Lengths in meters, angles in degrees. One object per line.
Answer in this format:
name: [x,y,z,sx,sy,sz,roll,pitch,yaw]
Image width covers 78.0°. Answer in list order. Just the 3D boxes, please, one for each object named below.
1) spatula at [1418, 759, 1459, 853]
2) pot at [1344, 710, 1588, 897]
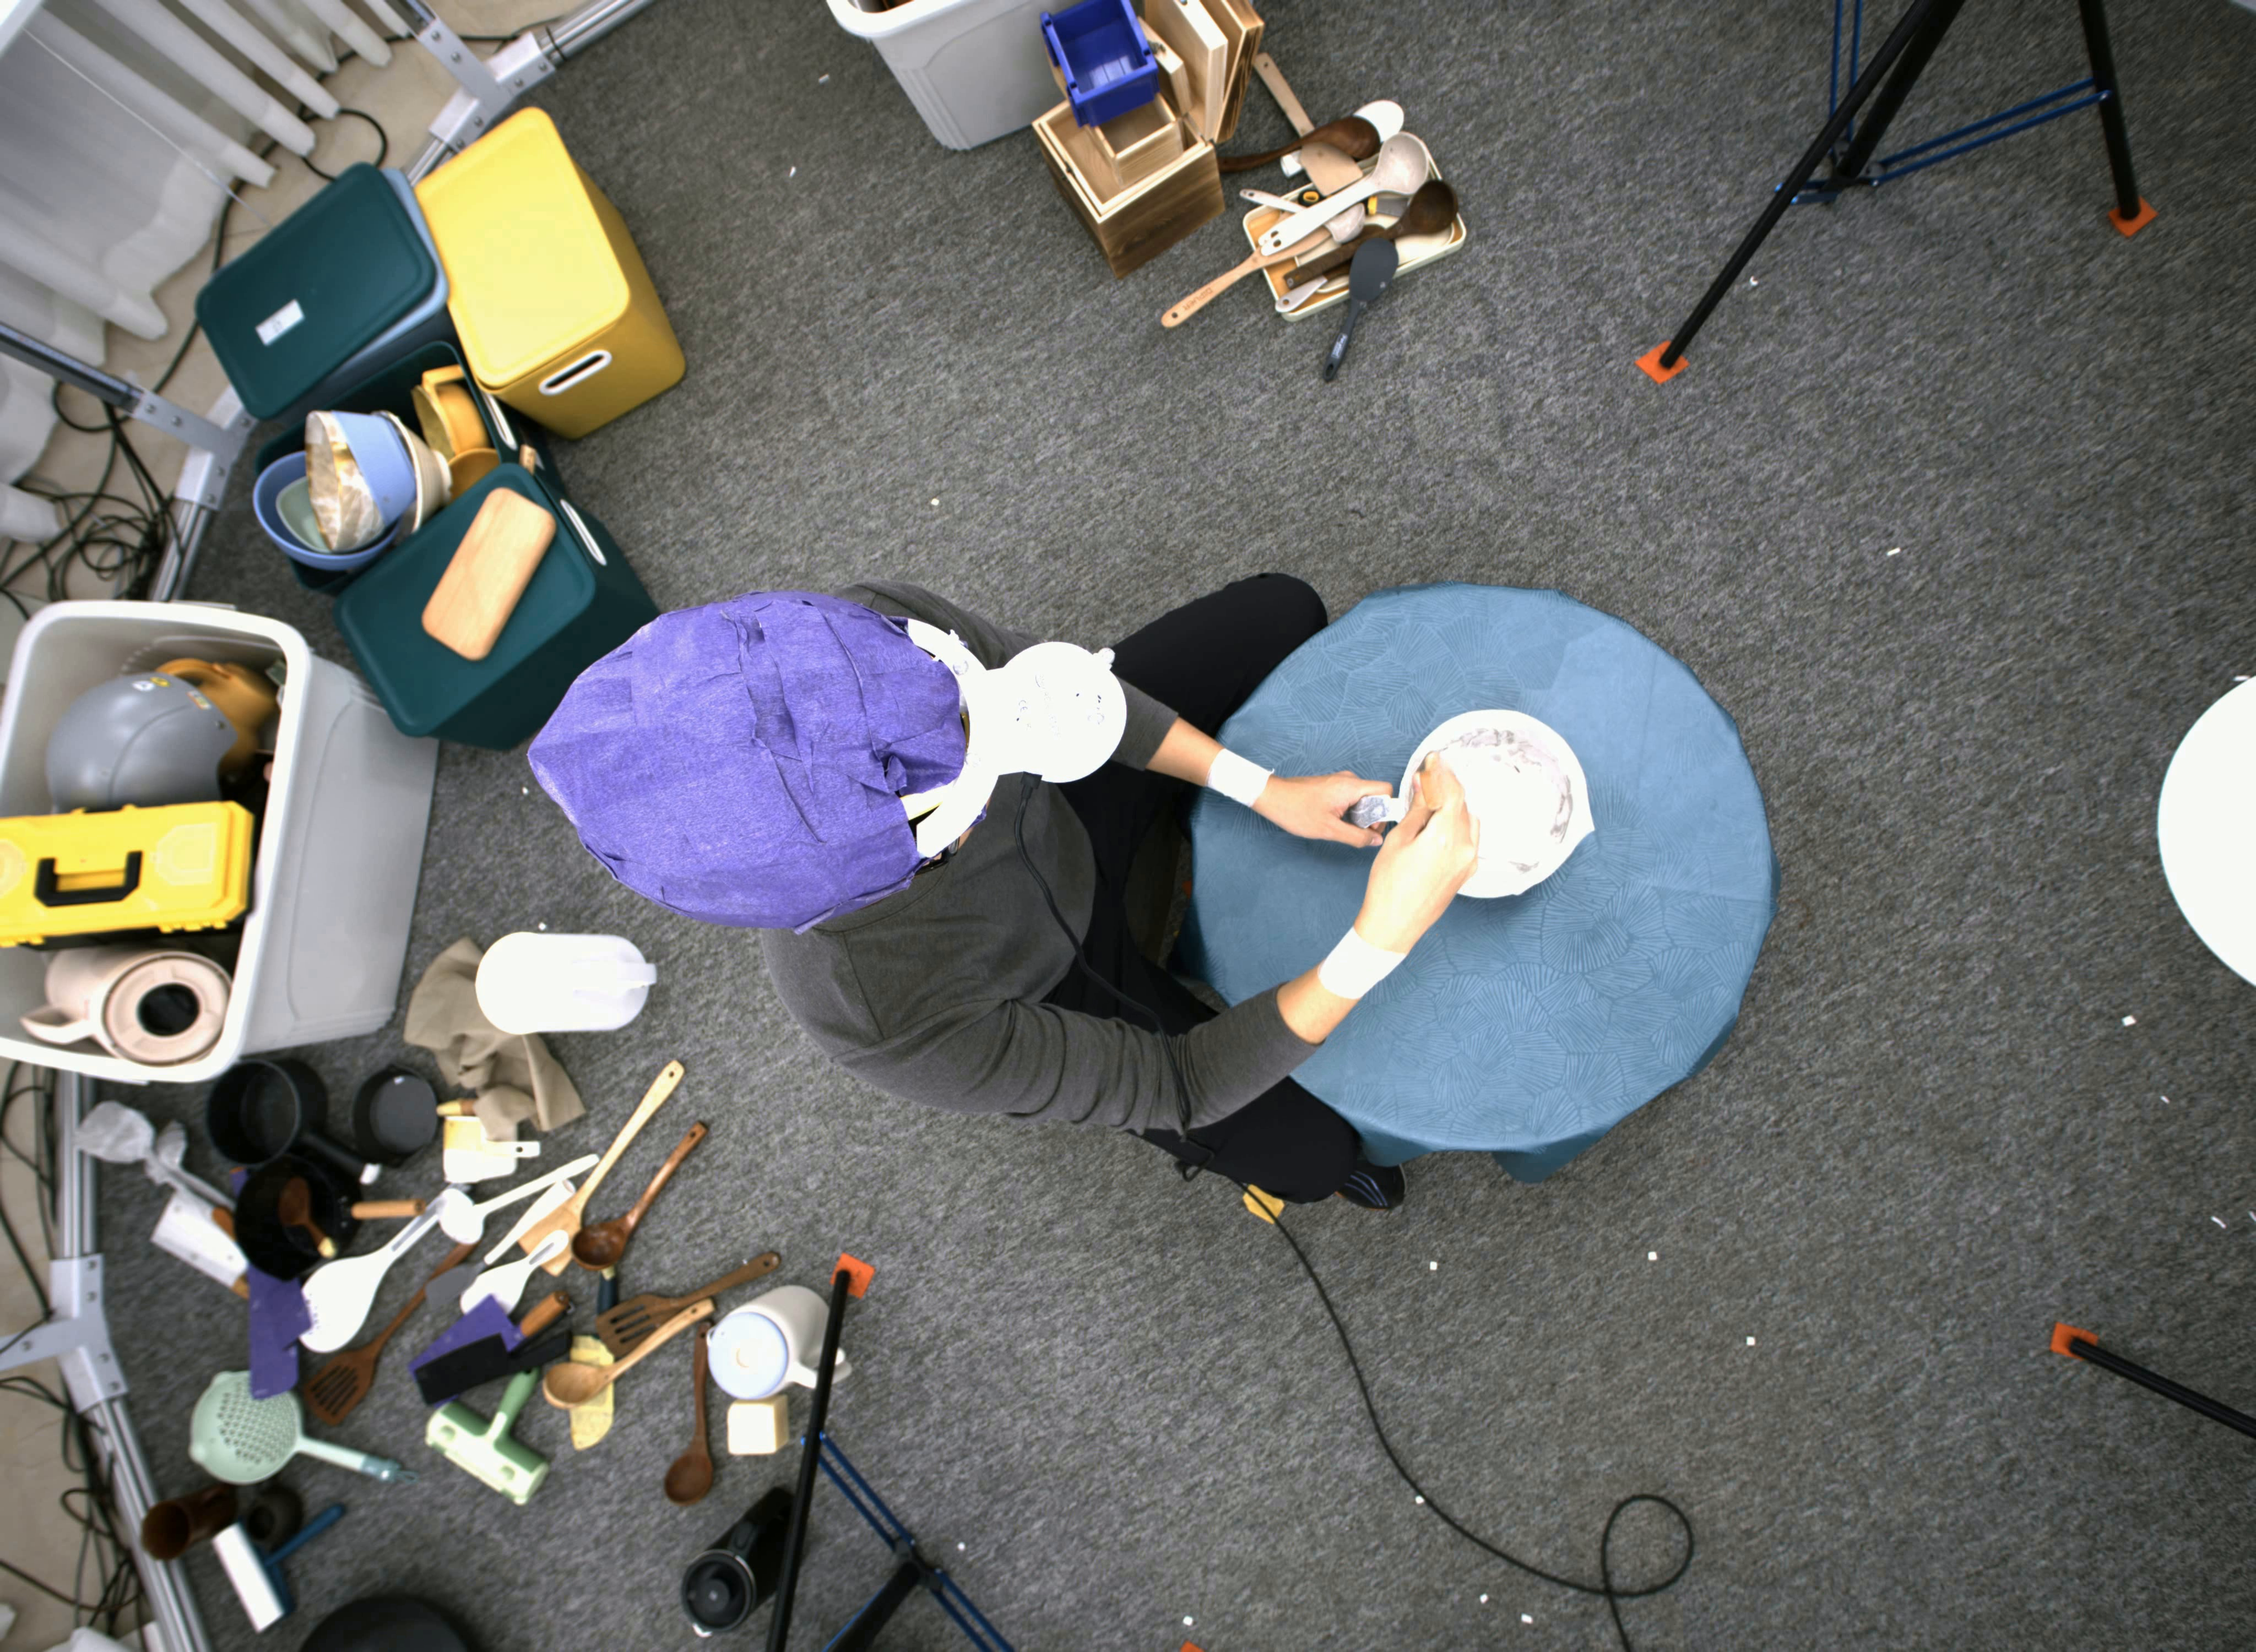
spatula: [0.270,-0.020,1.201,0.018,0.389,0.095,-14,87,13]
pot: [0.334,-0.018,1.385,0.235,0.136,0.178,-4,85,11]
